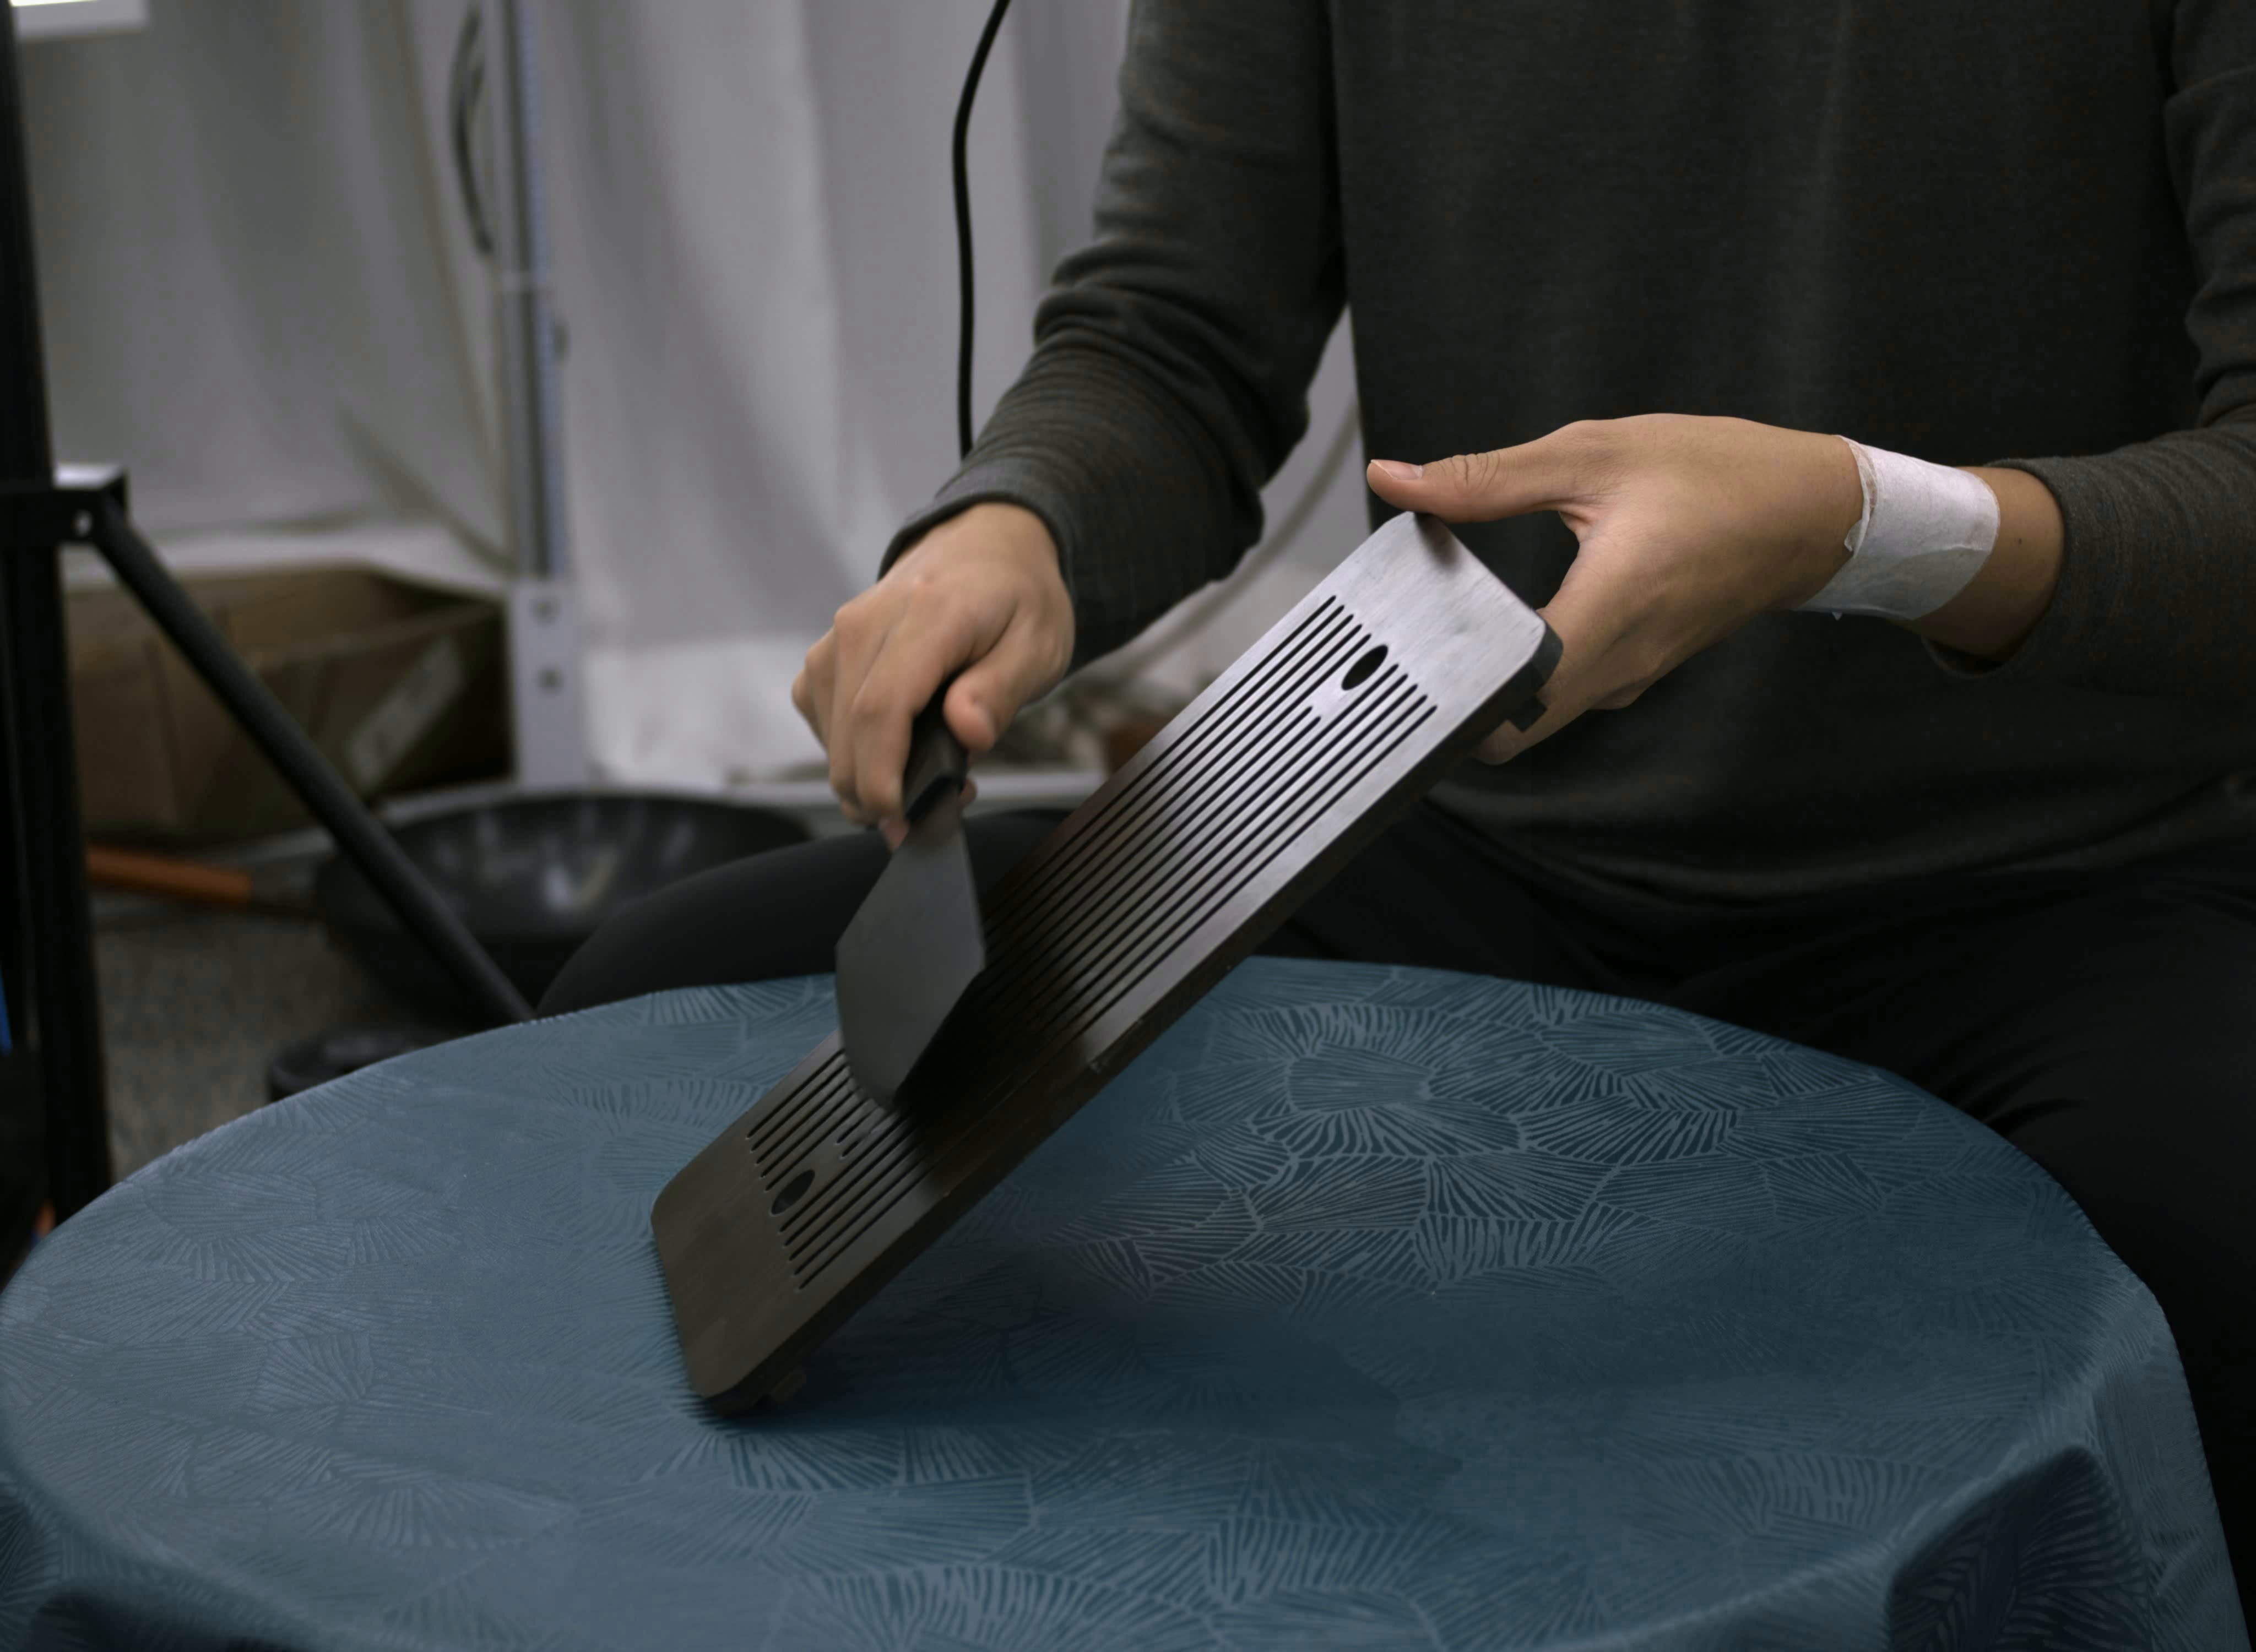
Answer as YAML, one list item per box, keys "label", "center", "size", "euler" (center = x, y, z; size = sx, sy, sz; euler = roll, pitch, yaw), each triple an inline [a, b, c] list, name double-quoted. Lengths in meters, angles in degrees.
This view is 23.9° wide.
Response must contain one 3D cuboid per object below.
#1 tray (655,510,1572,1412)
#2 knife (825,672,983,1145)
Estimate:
- label: "tray"
  center: [-0.008, 0.035, 1.462]
  size: [0.306, 0.018, 0.172]
  euler: [-42, 17, 4]
- label: "knife"
  center: [-0.065, 0.017, 1.557]
  size: [0.020, 0.081, 0.304]
  euler: [33, 17, -13]
